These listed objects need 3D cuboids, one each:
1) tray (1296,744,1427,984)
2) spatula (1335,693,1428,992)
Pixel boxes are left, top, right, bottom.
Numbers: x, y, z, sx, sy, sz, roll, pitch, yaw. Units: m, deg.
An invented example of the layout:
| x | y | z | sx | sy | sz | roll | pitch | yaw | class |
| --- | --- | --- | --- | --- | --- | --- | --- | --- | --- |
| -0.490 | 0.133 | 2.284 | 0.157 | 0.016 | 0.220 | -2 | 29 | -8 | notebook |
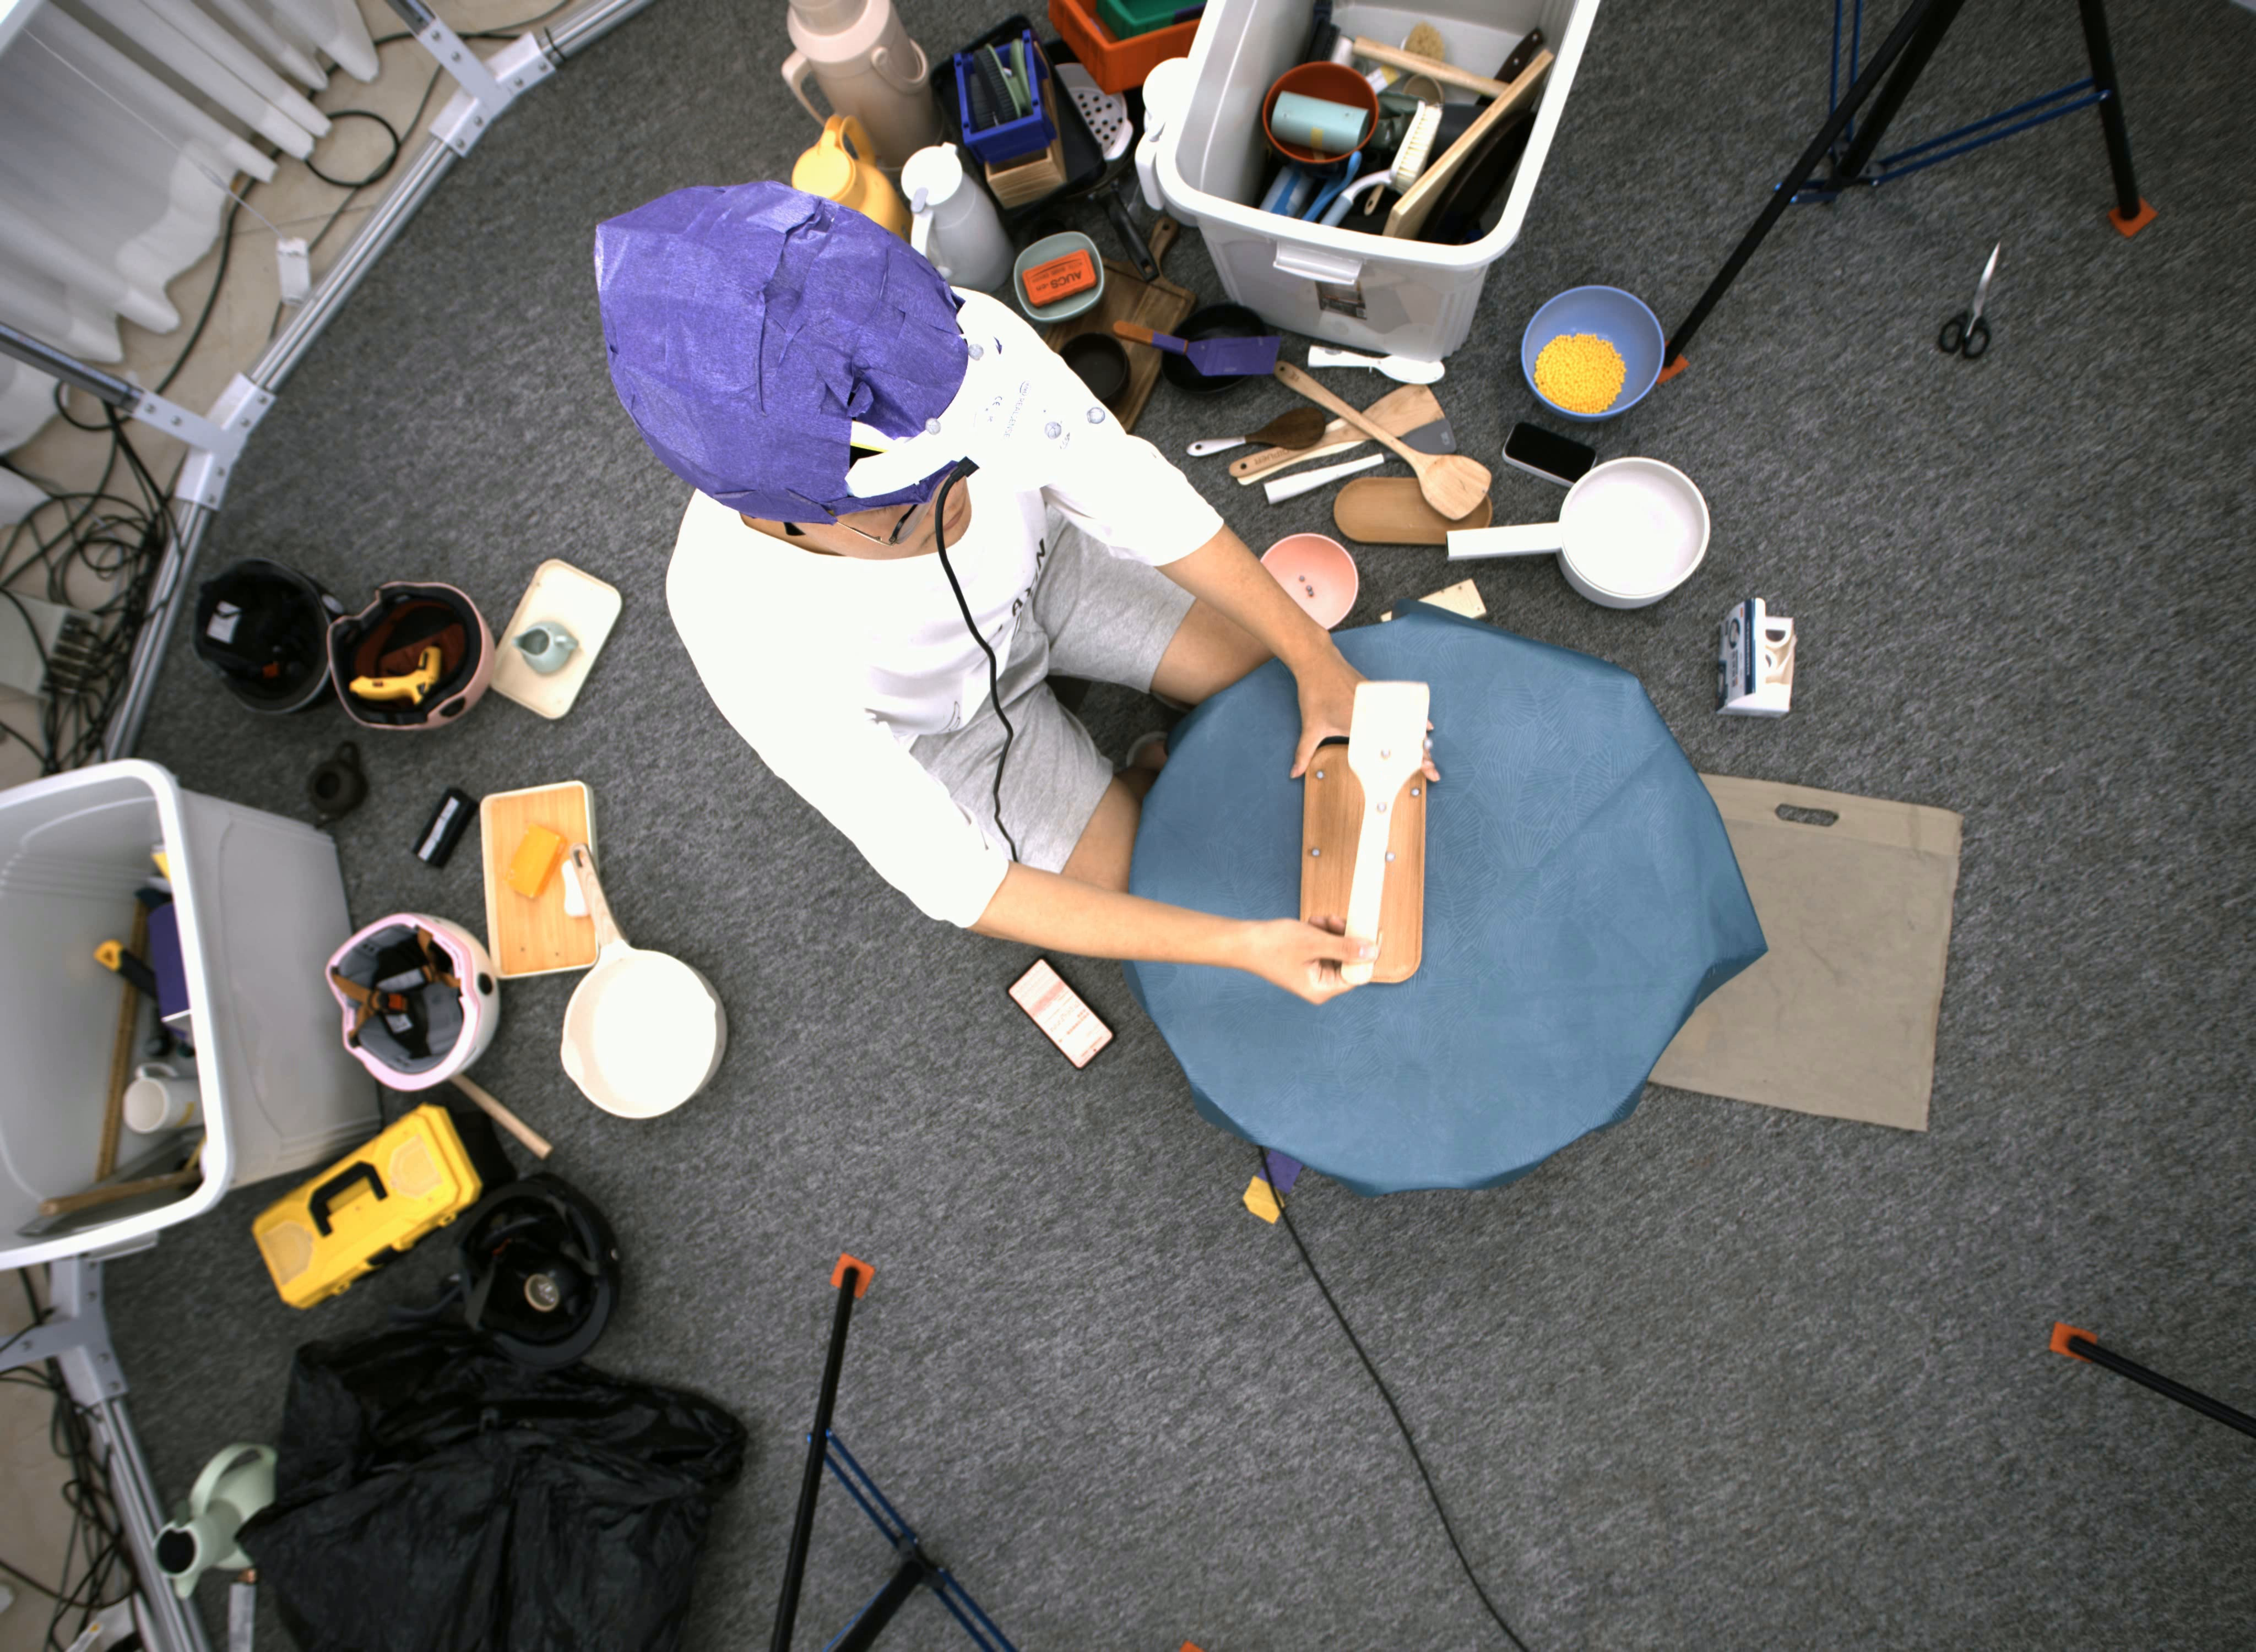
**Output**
| x | y | z | sx | sy | sz | roll | pitch | yaw | class |
| --- | --- | --- | --- | --- | --- | --- | --- | --- | --- |
| 0.247 | 0.038 | 1.458 | 0.131 | 0.023 | 0.250 | 3 | 88 | 13 | tray |
| 0.222 | 0.009 | 1.251 | 0.072 | 0.011 | 0.288 | 4 | 71 | 22 | spatula |
